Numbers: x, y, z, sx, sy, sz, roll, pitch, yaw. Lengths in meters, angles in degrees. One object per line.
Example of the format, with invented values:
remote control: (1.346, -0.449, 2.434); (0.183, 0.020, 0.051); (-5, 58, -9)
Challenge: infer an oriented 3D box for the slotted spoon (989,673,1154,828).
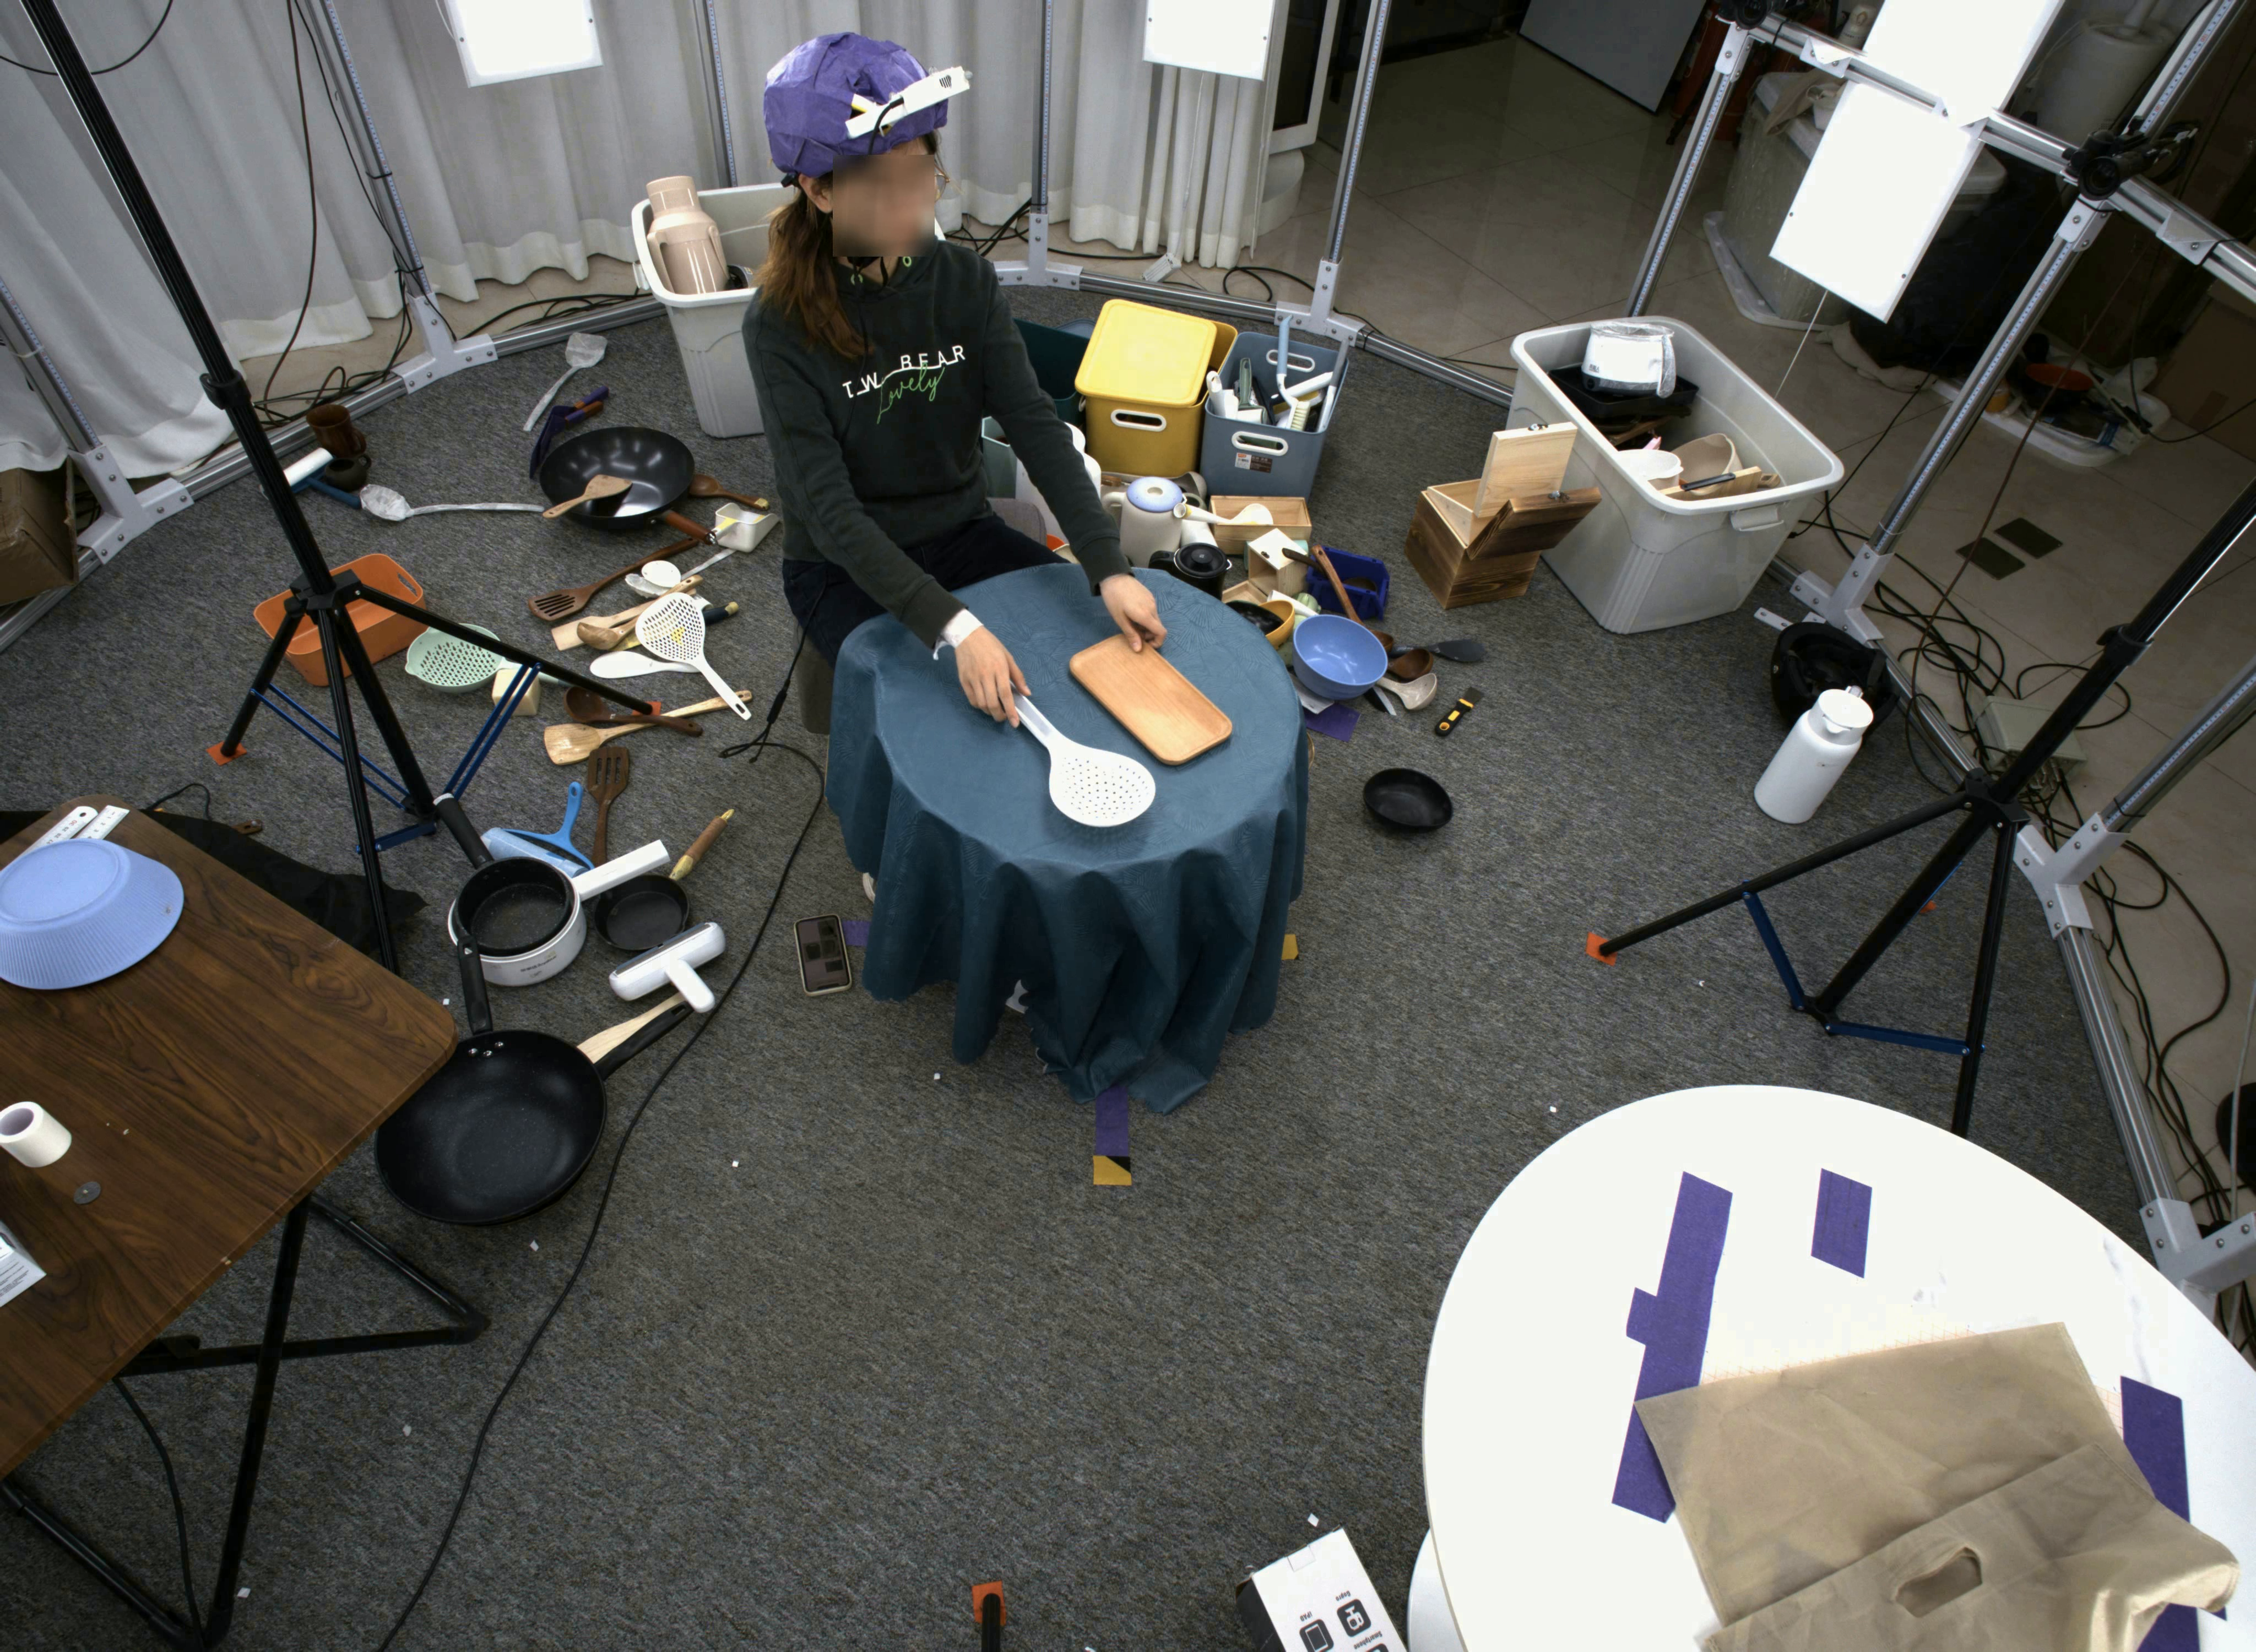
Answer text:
slotted spoon: (-0.093, -0.108, 1.742); (0.136, 0.044, 0.357); (-23, 53, -25)

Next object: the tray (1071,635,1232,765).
tray: (0.031, -0.183, 1.835); (0.131, 0.022, 0.255); (-26, 55, -26)
